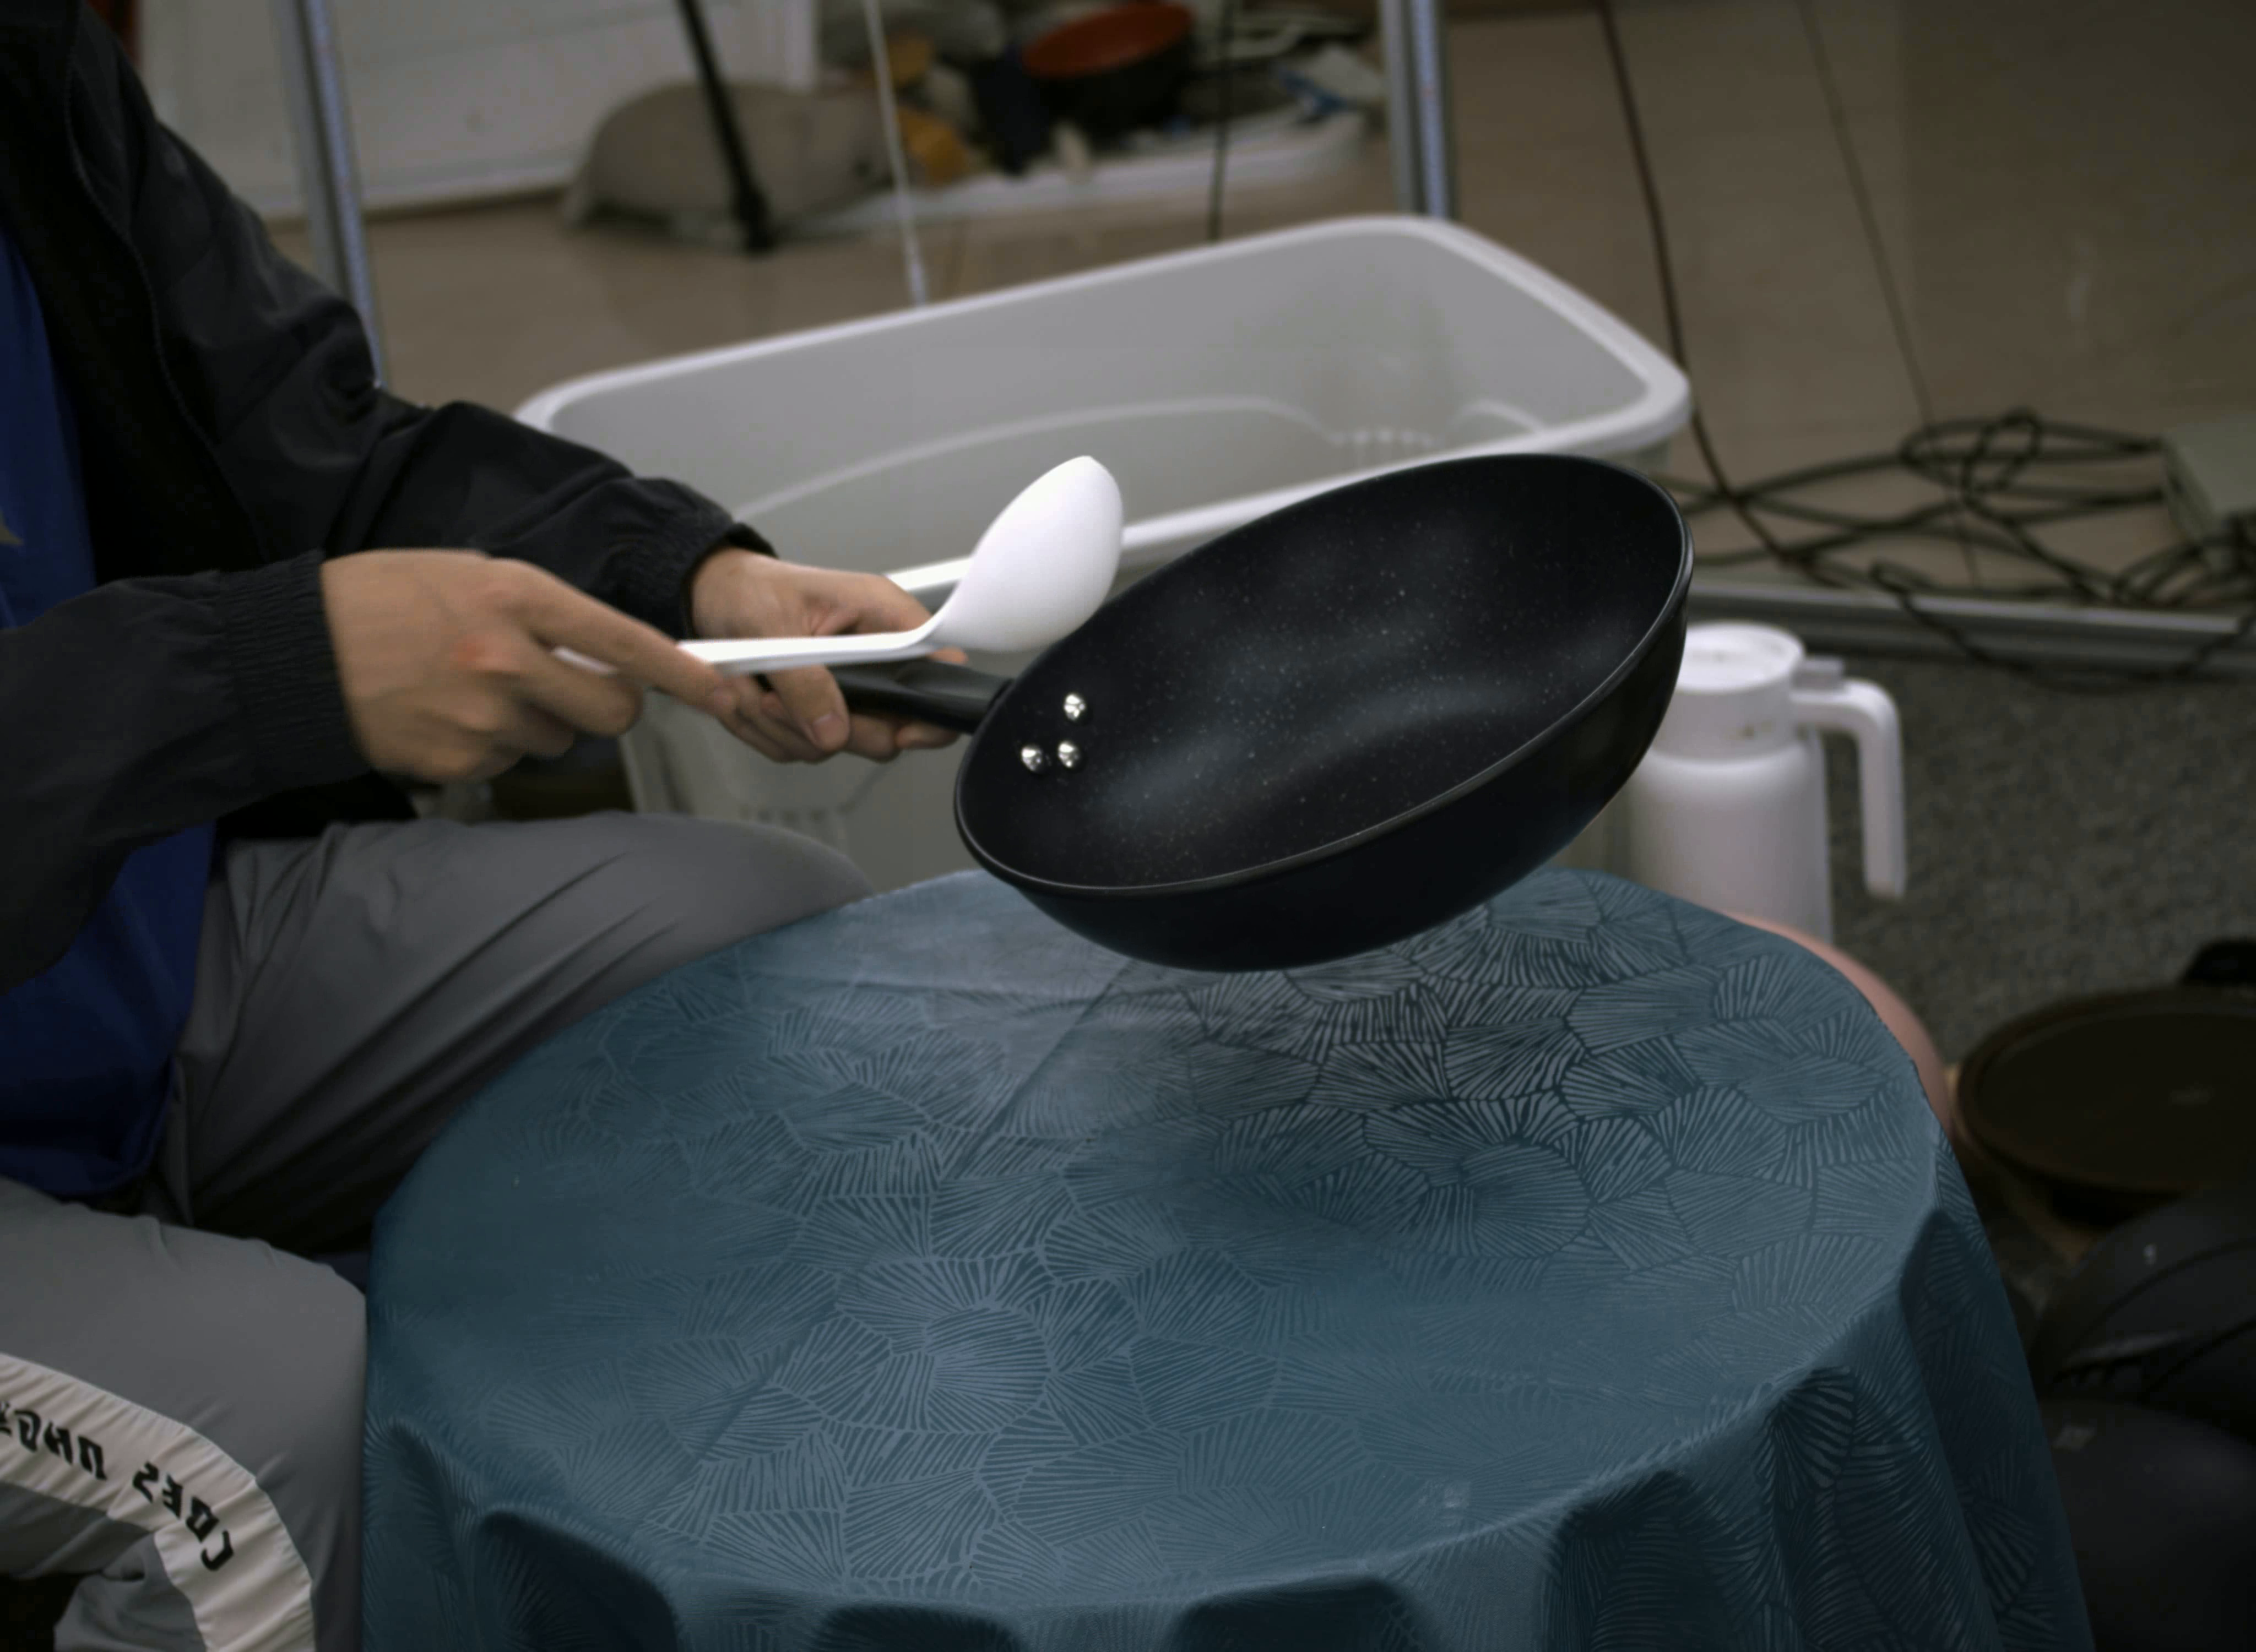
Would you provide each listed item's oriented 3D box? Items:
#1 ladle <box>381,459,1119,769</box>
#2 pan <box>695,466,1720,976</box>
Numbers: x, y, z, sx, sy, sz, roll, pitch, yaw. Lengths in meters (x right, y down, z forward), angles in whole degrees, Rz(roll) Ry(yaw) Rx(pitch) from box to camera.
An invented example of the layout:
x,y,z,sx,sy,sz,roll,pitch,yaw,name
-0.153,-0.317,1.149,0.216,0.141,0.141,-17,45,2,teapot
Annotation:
x,y,z,sx,sy,sz,roll,pitch,yaw,name
-0.141,-0.079,2.116,0.293,0.070,0.090,-9,1,12,ladle
0.025,-0.035,2.260,0.476,0.113,0.306,-2,33,37,pan
